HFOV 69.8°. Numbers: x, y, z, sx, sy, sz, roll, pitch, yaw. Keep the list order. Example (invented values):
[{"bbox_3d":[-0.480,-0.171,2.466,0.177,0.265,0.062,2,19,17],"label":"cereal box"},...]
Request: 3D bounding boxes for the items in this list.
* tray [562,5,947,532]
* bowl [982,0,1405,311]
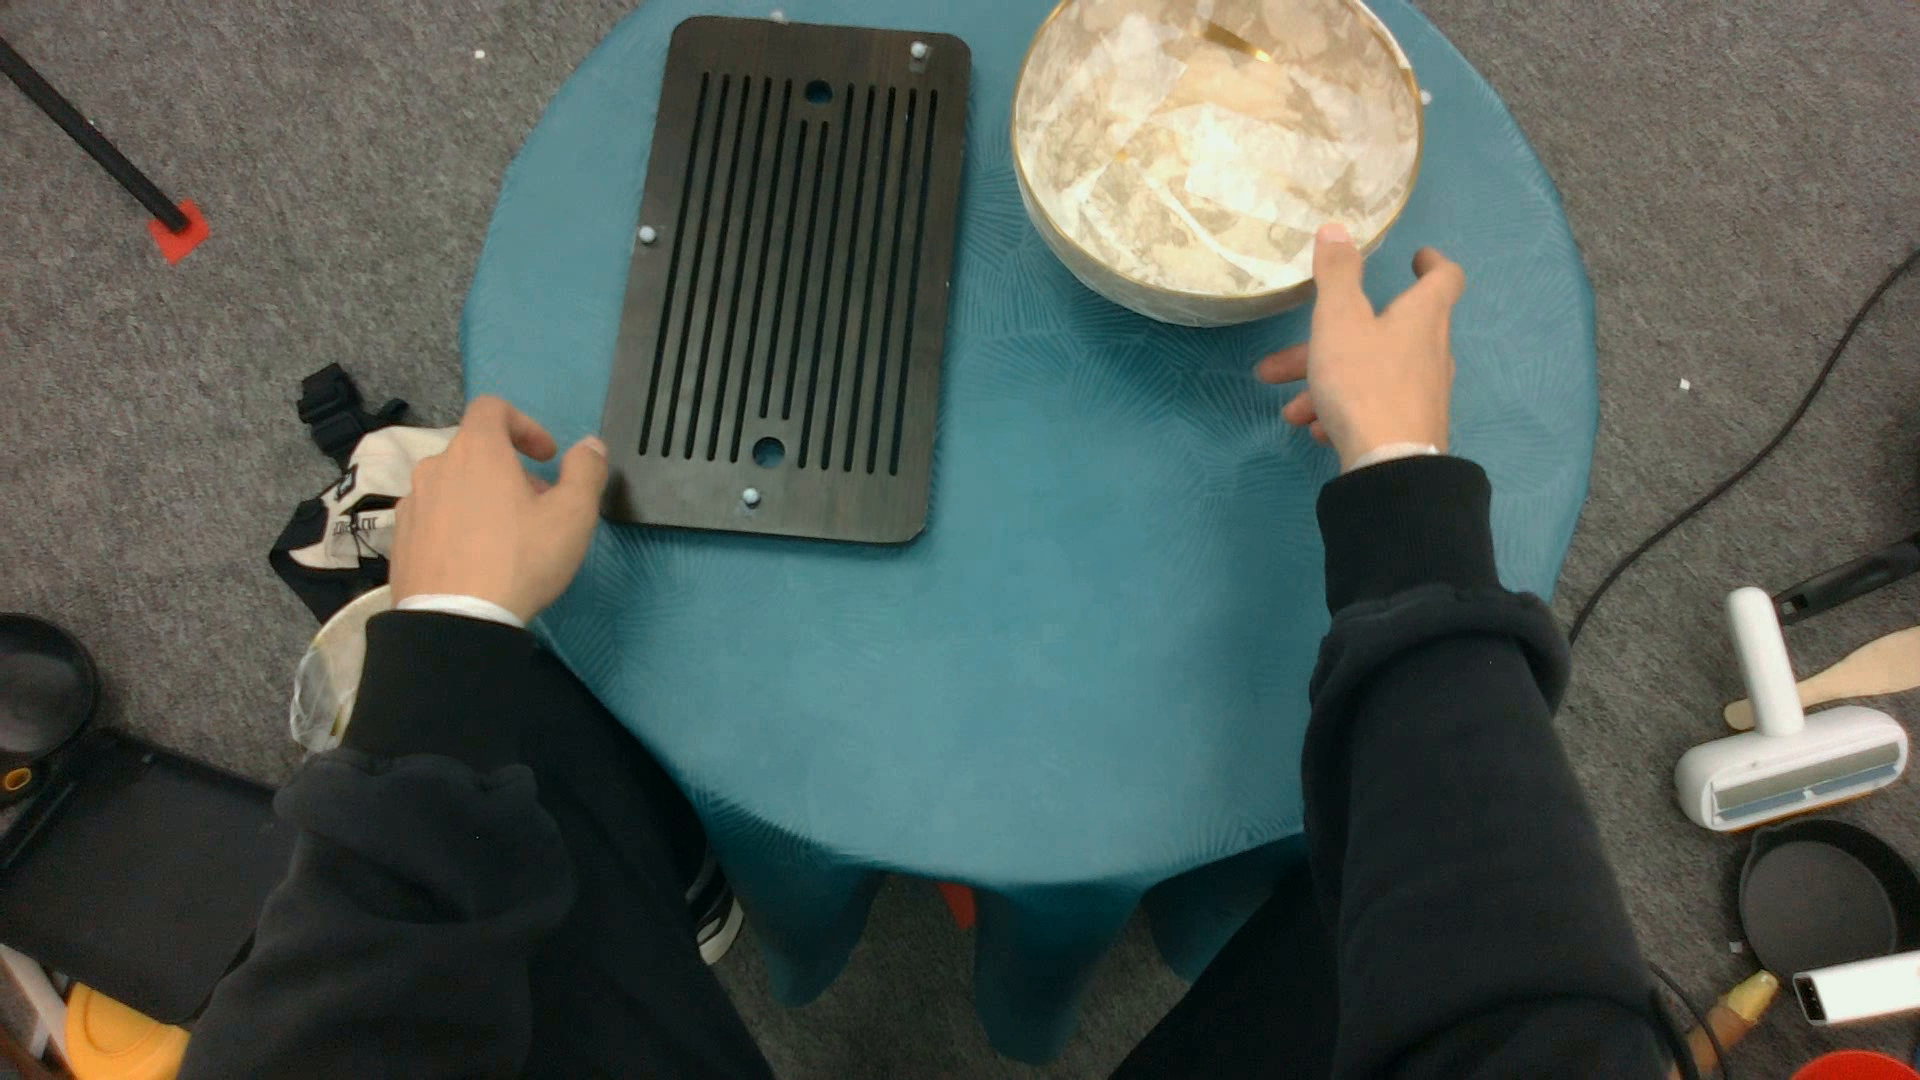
[{"bbox_3d":[-0.103,-0.152,0.734,0.170,0.018,0.307,4,71,1],"label":"tray"},{"bbox_3d":[0.111,-0.197,0.712,0.215,0.094,0.215,1,71,-2],"label":"bowl"}]
